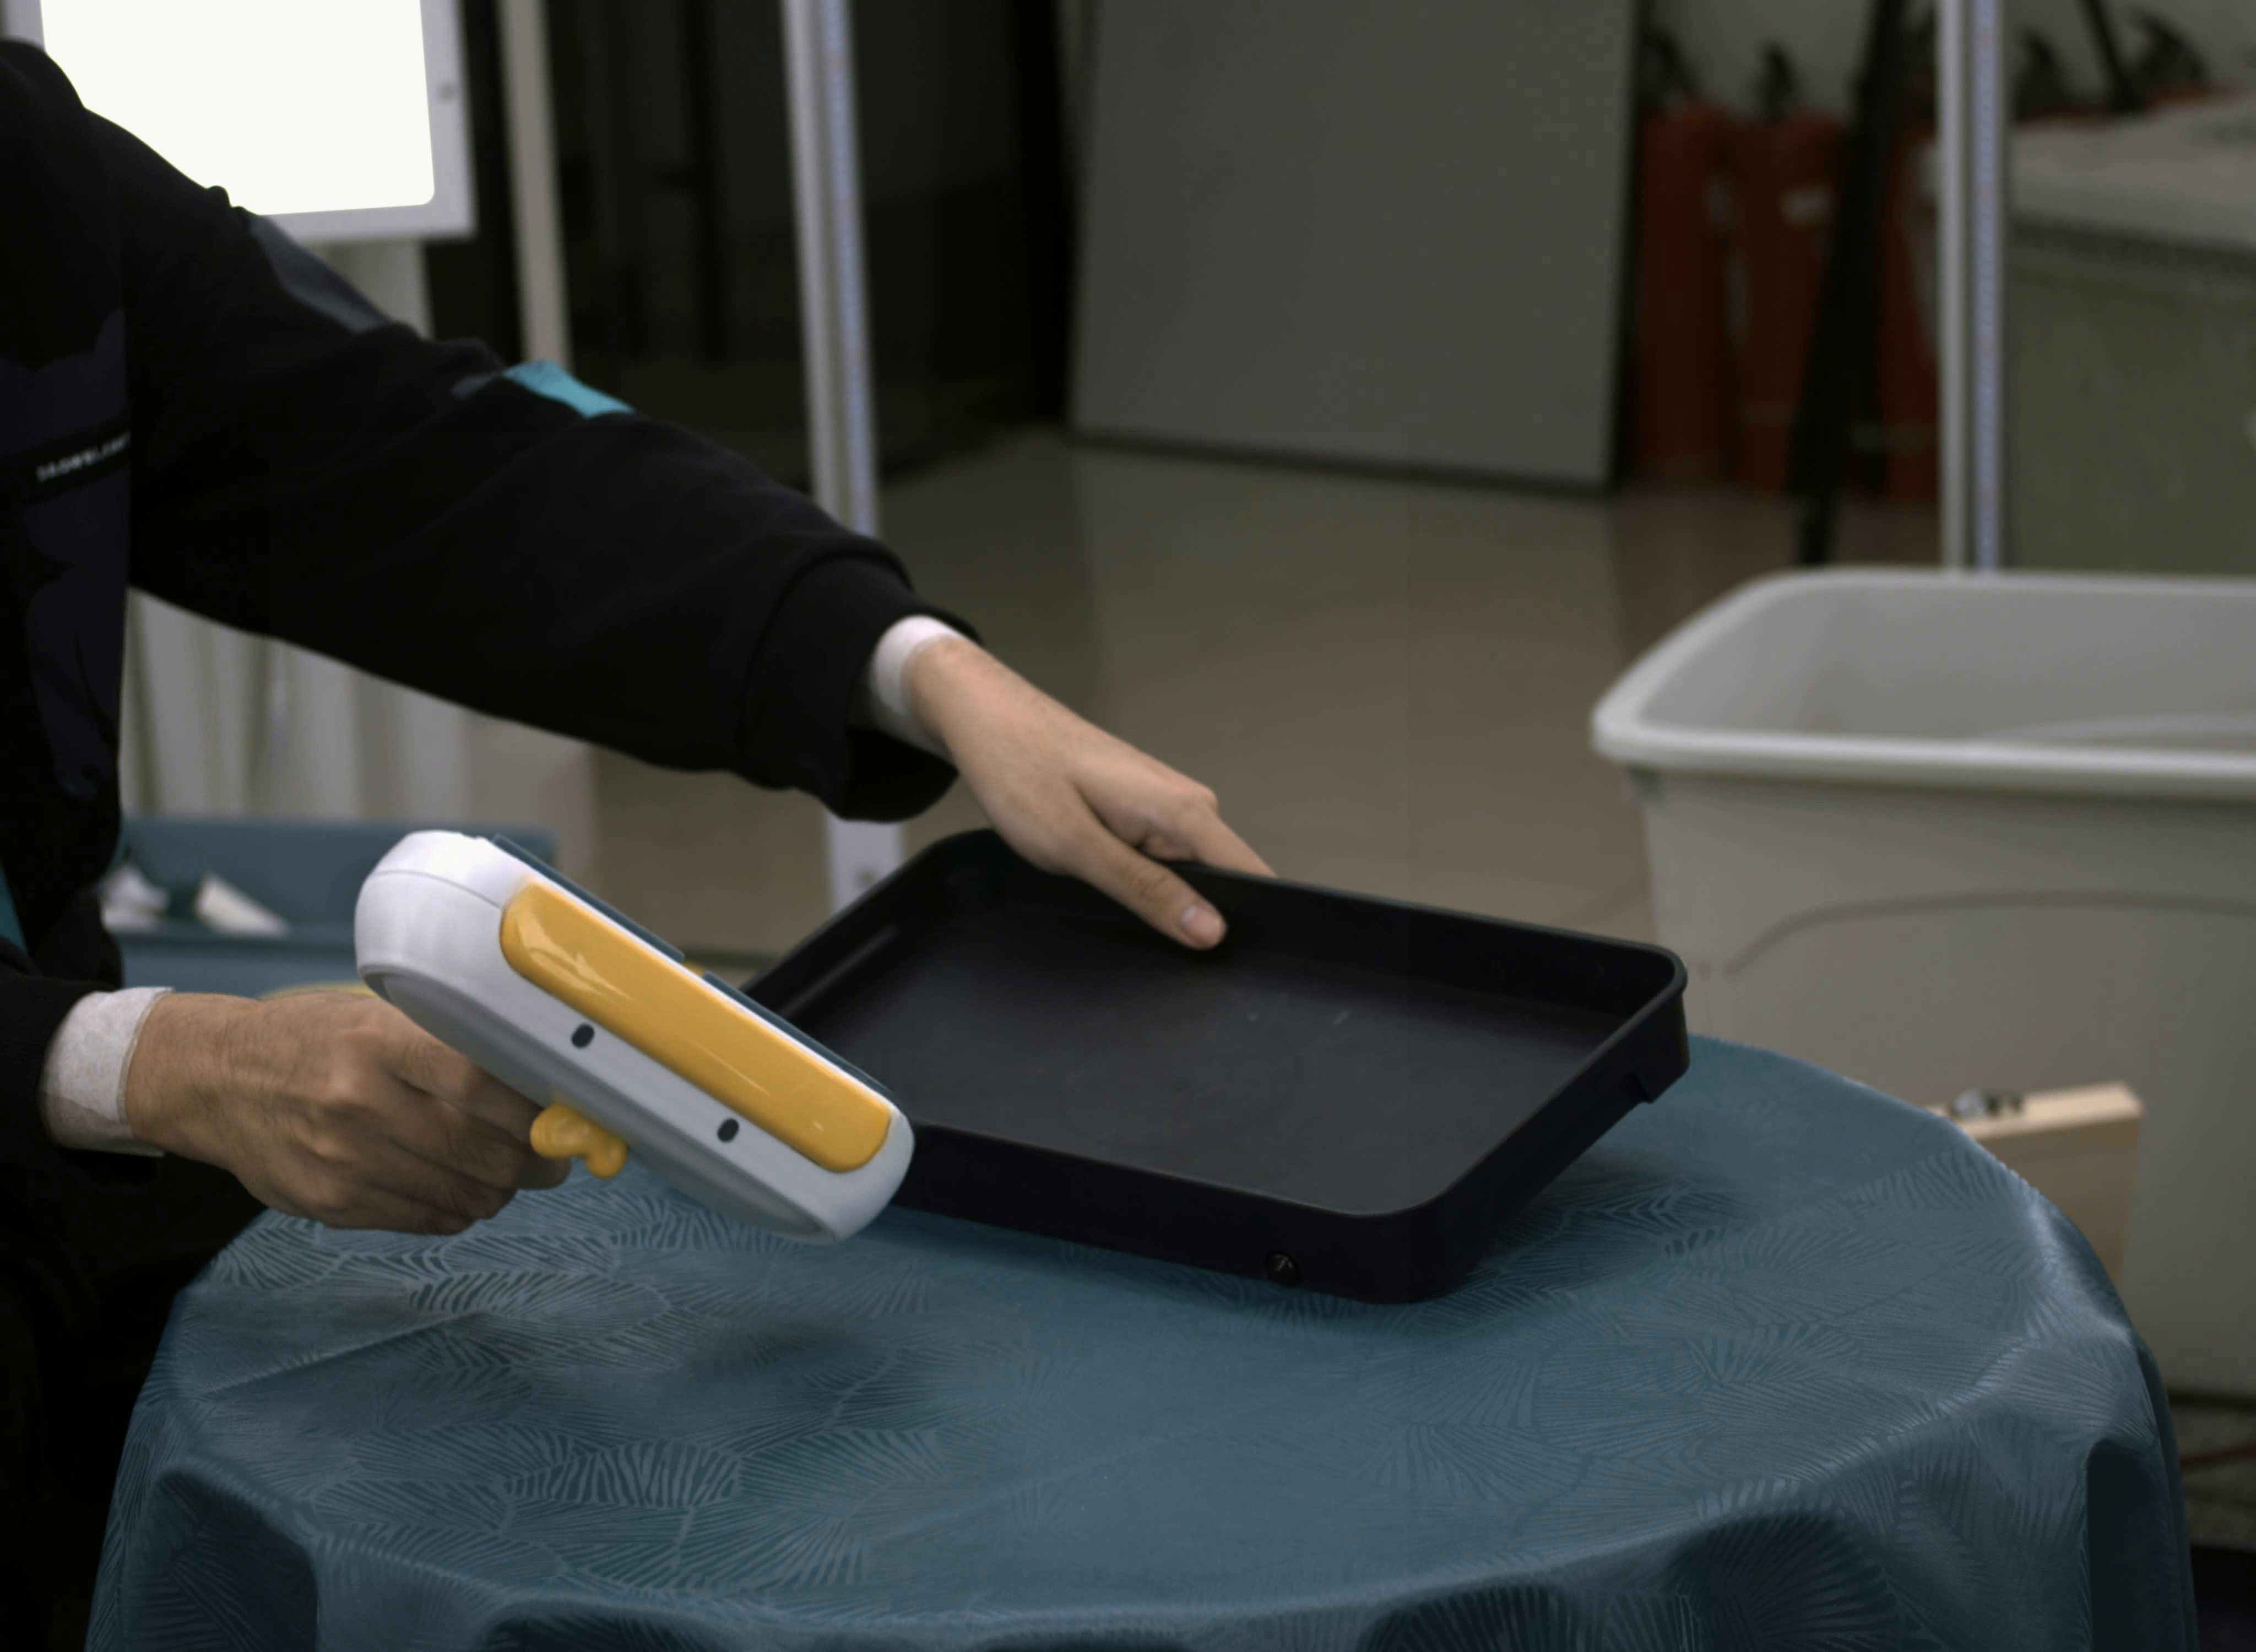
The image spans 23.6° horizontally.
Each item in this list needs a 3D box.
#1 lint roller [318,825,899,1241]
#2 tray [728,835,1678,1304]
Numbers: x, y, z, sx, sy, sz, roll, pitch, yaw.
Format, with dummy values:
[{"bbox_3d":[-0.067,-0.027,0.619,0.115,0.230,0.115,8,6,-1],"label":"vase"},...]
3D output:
[{"bbox_3d":[-0.187,0.080,1.659,0.189,0.075,0.194,29,-26,-26],"label":"lint roller"},{"bbox_3d":[0.012,0.076,1.790,0.320,0.037,0.182,8,32,37],"label":"tray"}]
